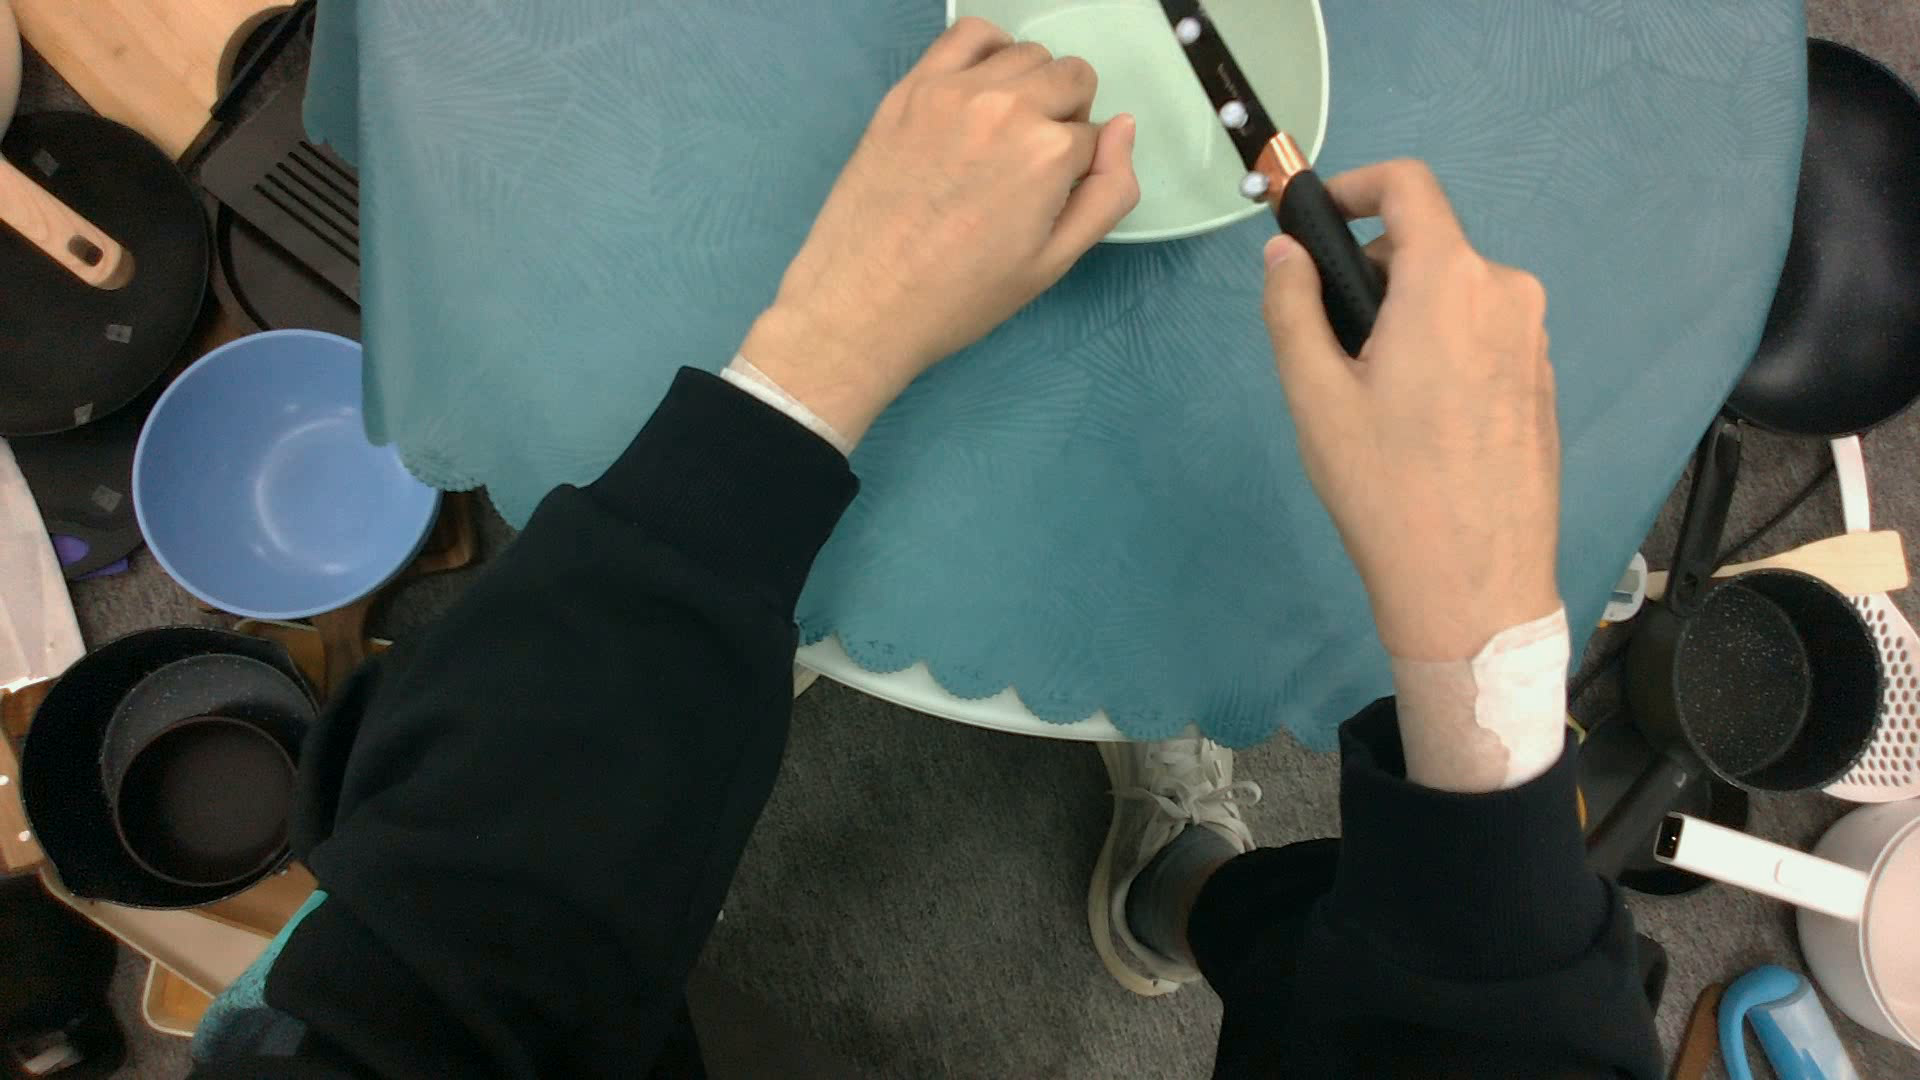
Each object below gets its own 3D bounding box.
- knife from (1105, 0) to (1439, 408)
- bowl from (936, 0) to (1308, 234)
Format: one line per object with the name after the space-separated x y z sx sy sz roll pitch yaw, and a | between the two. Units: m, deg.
0.094 -0.131 0.465 0.017 0.026 0.226 -19 62 -15 | knife
0.057 -0.179 0.530 0.151 0.058 0.151 1 85 -8 | bowl
